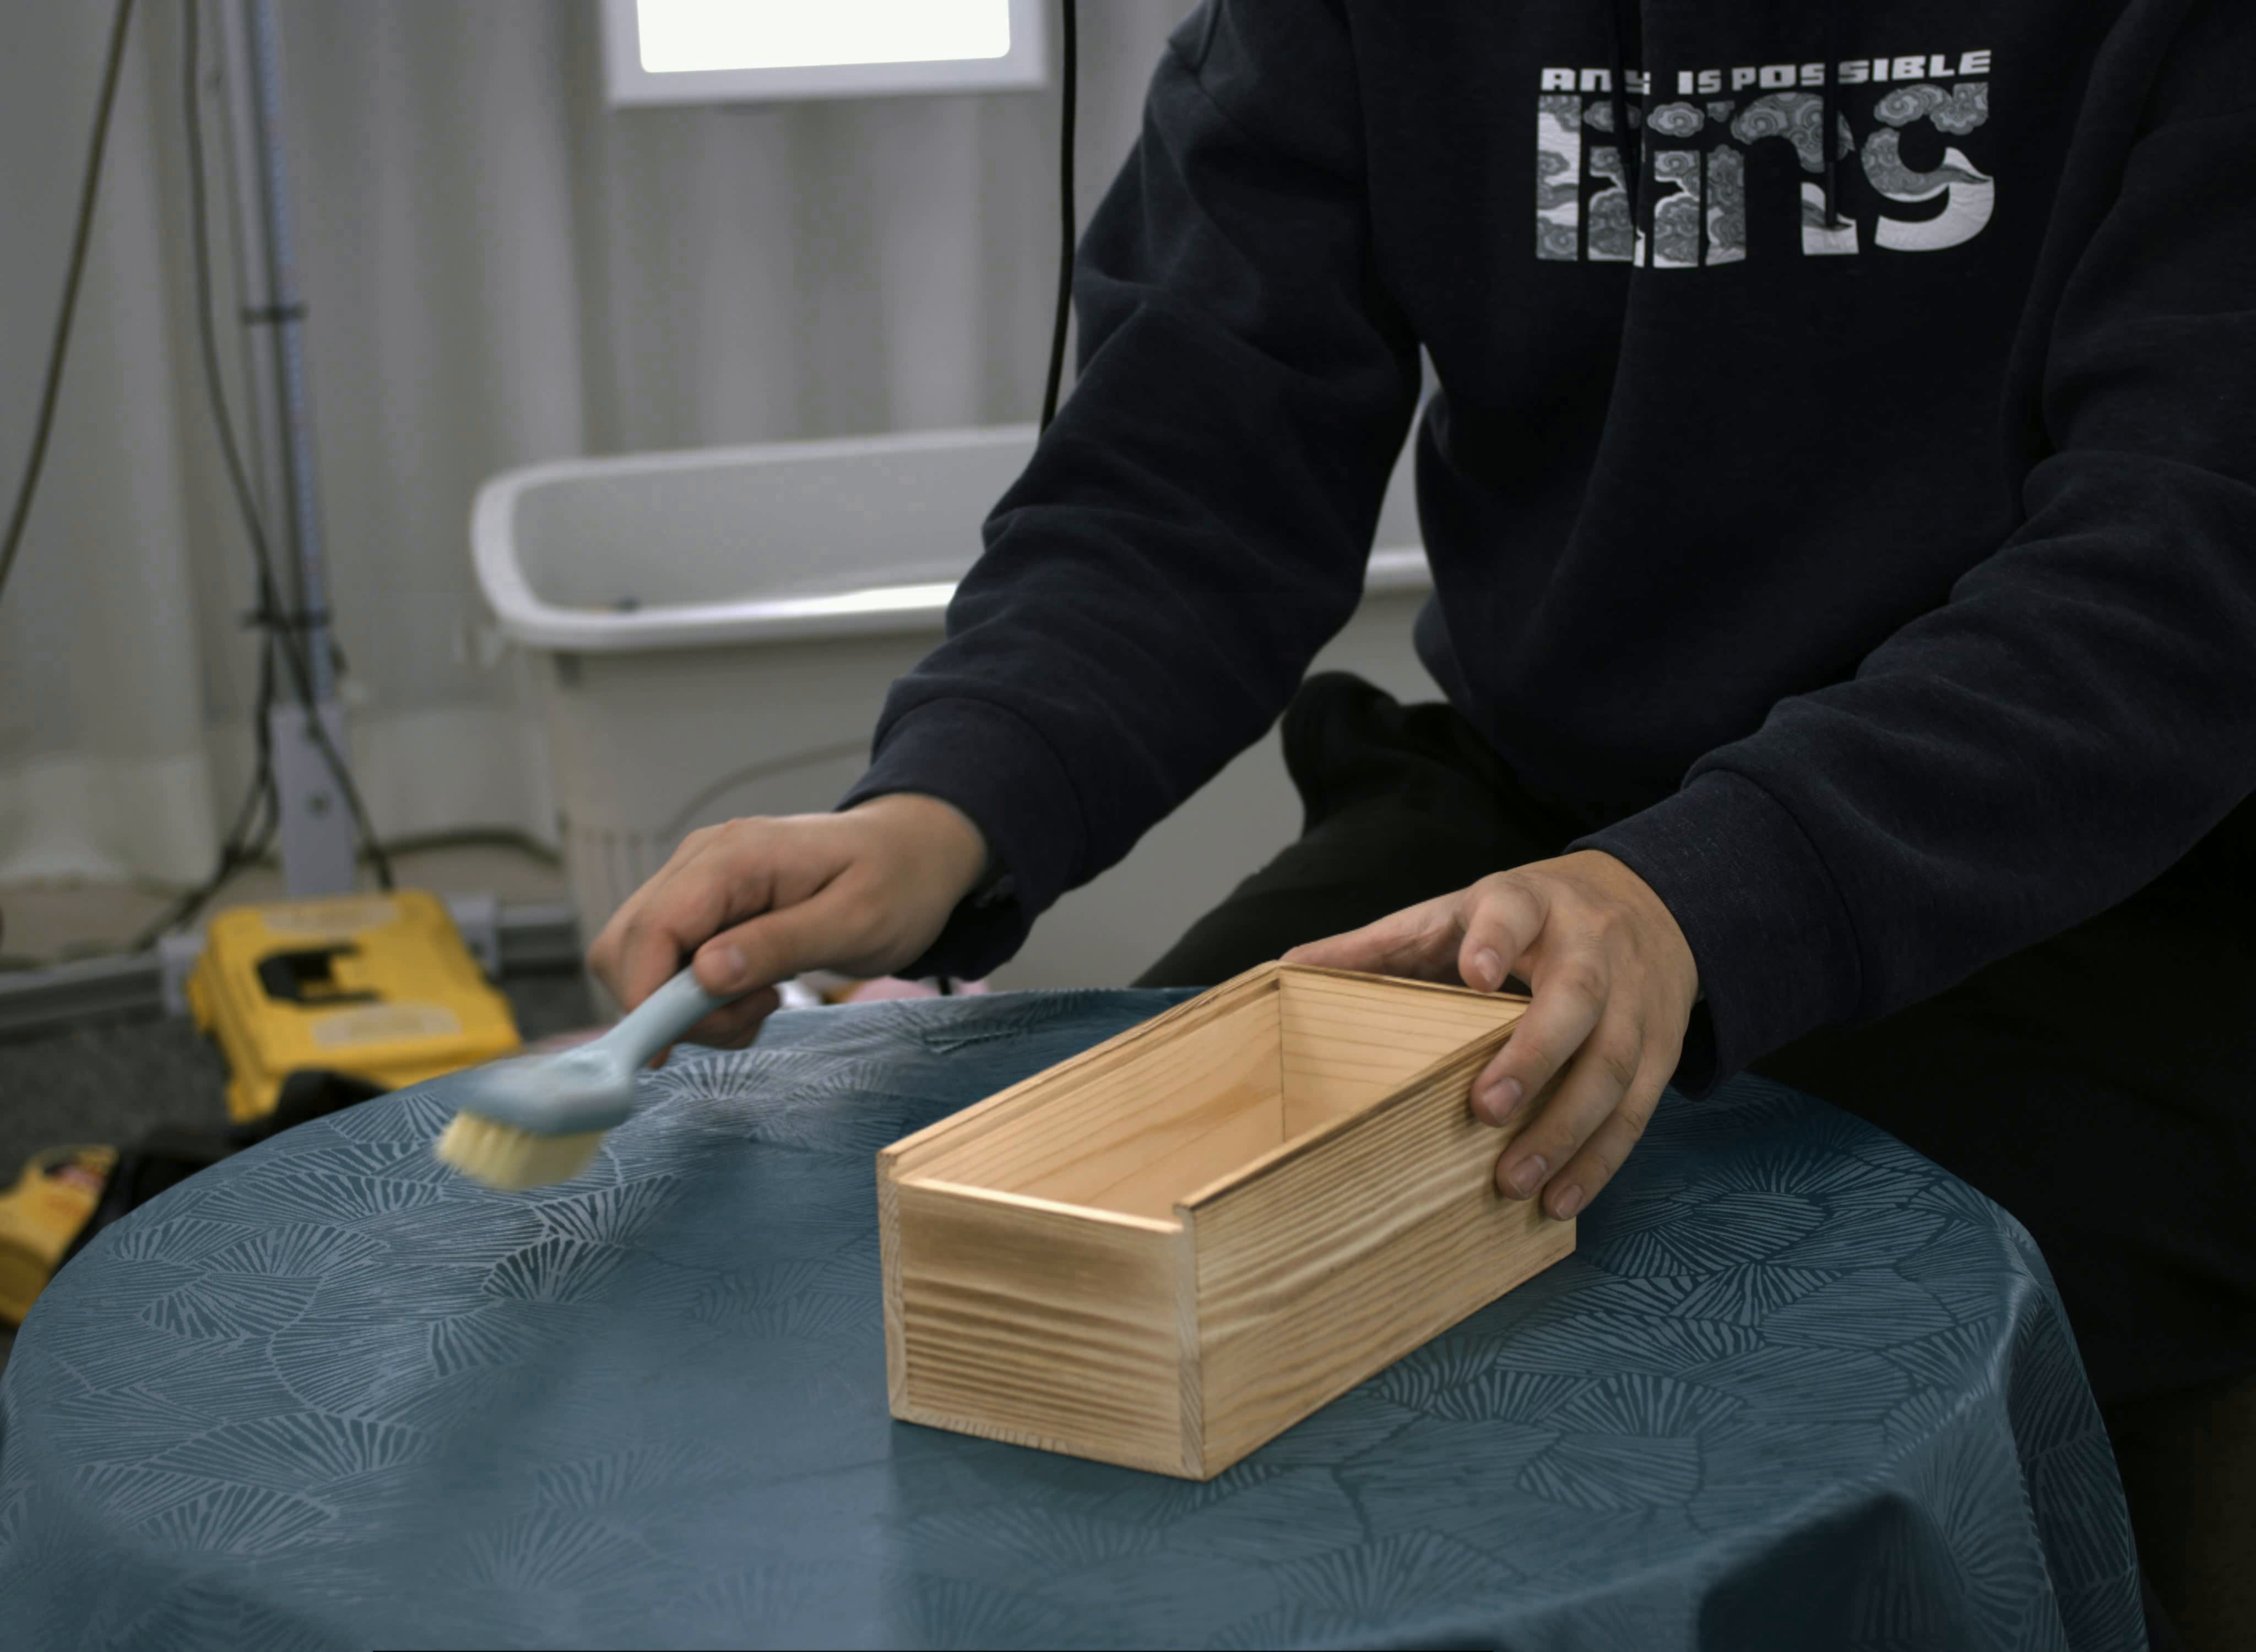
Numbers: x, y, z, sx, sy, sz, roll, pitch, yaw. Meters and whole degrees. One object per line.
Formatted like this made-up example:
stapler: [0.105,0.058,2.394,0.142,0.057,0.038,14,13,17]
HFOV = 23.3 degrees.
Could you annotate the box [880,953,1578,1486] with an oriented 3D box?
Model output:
box: [0.033,0.109,1.578,0.108,0.080,0.211,7,18,32]

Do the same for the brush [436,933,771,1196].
brush: [-0.165,0.076,1.752,0.038,0.049,0.229,25,19,10]
